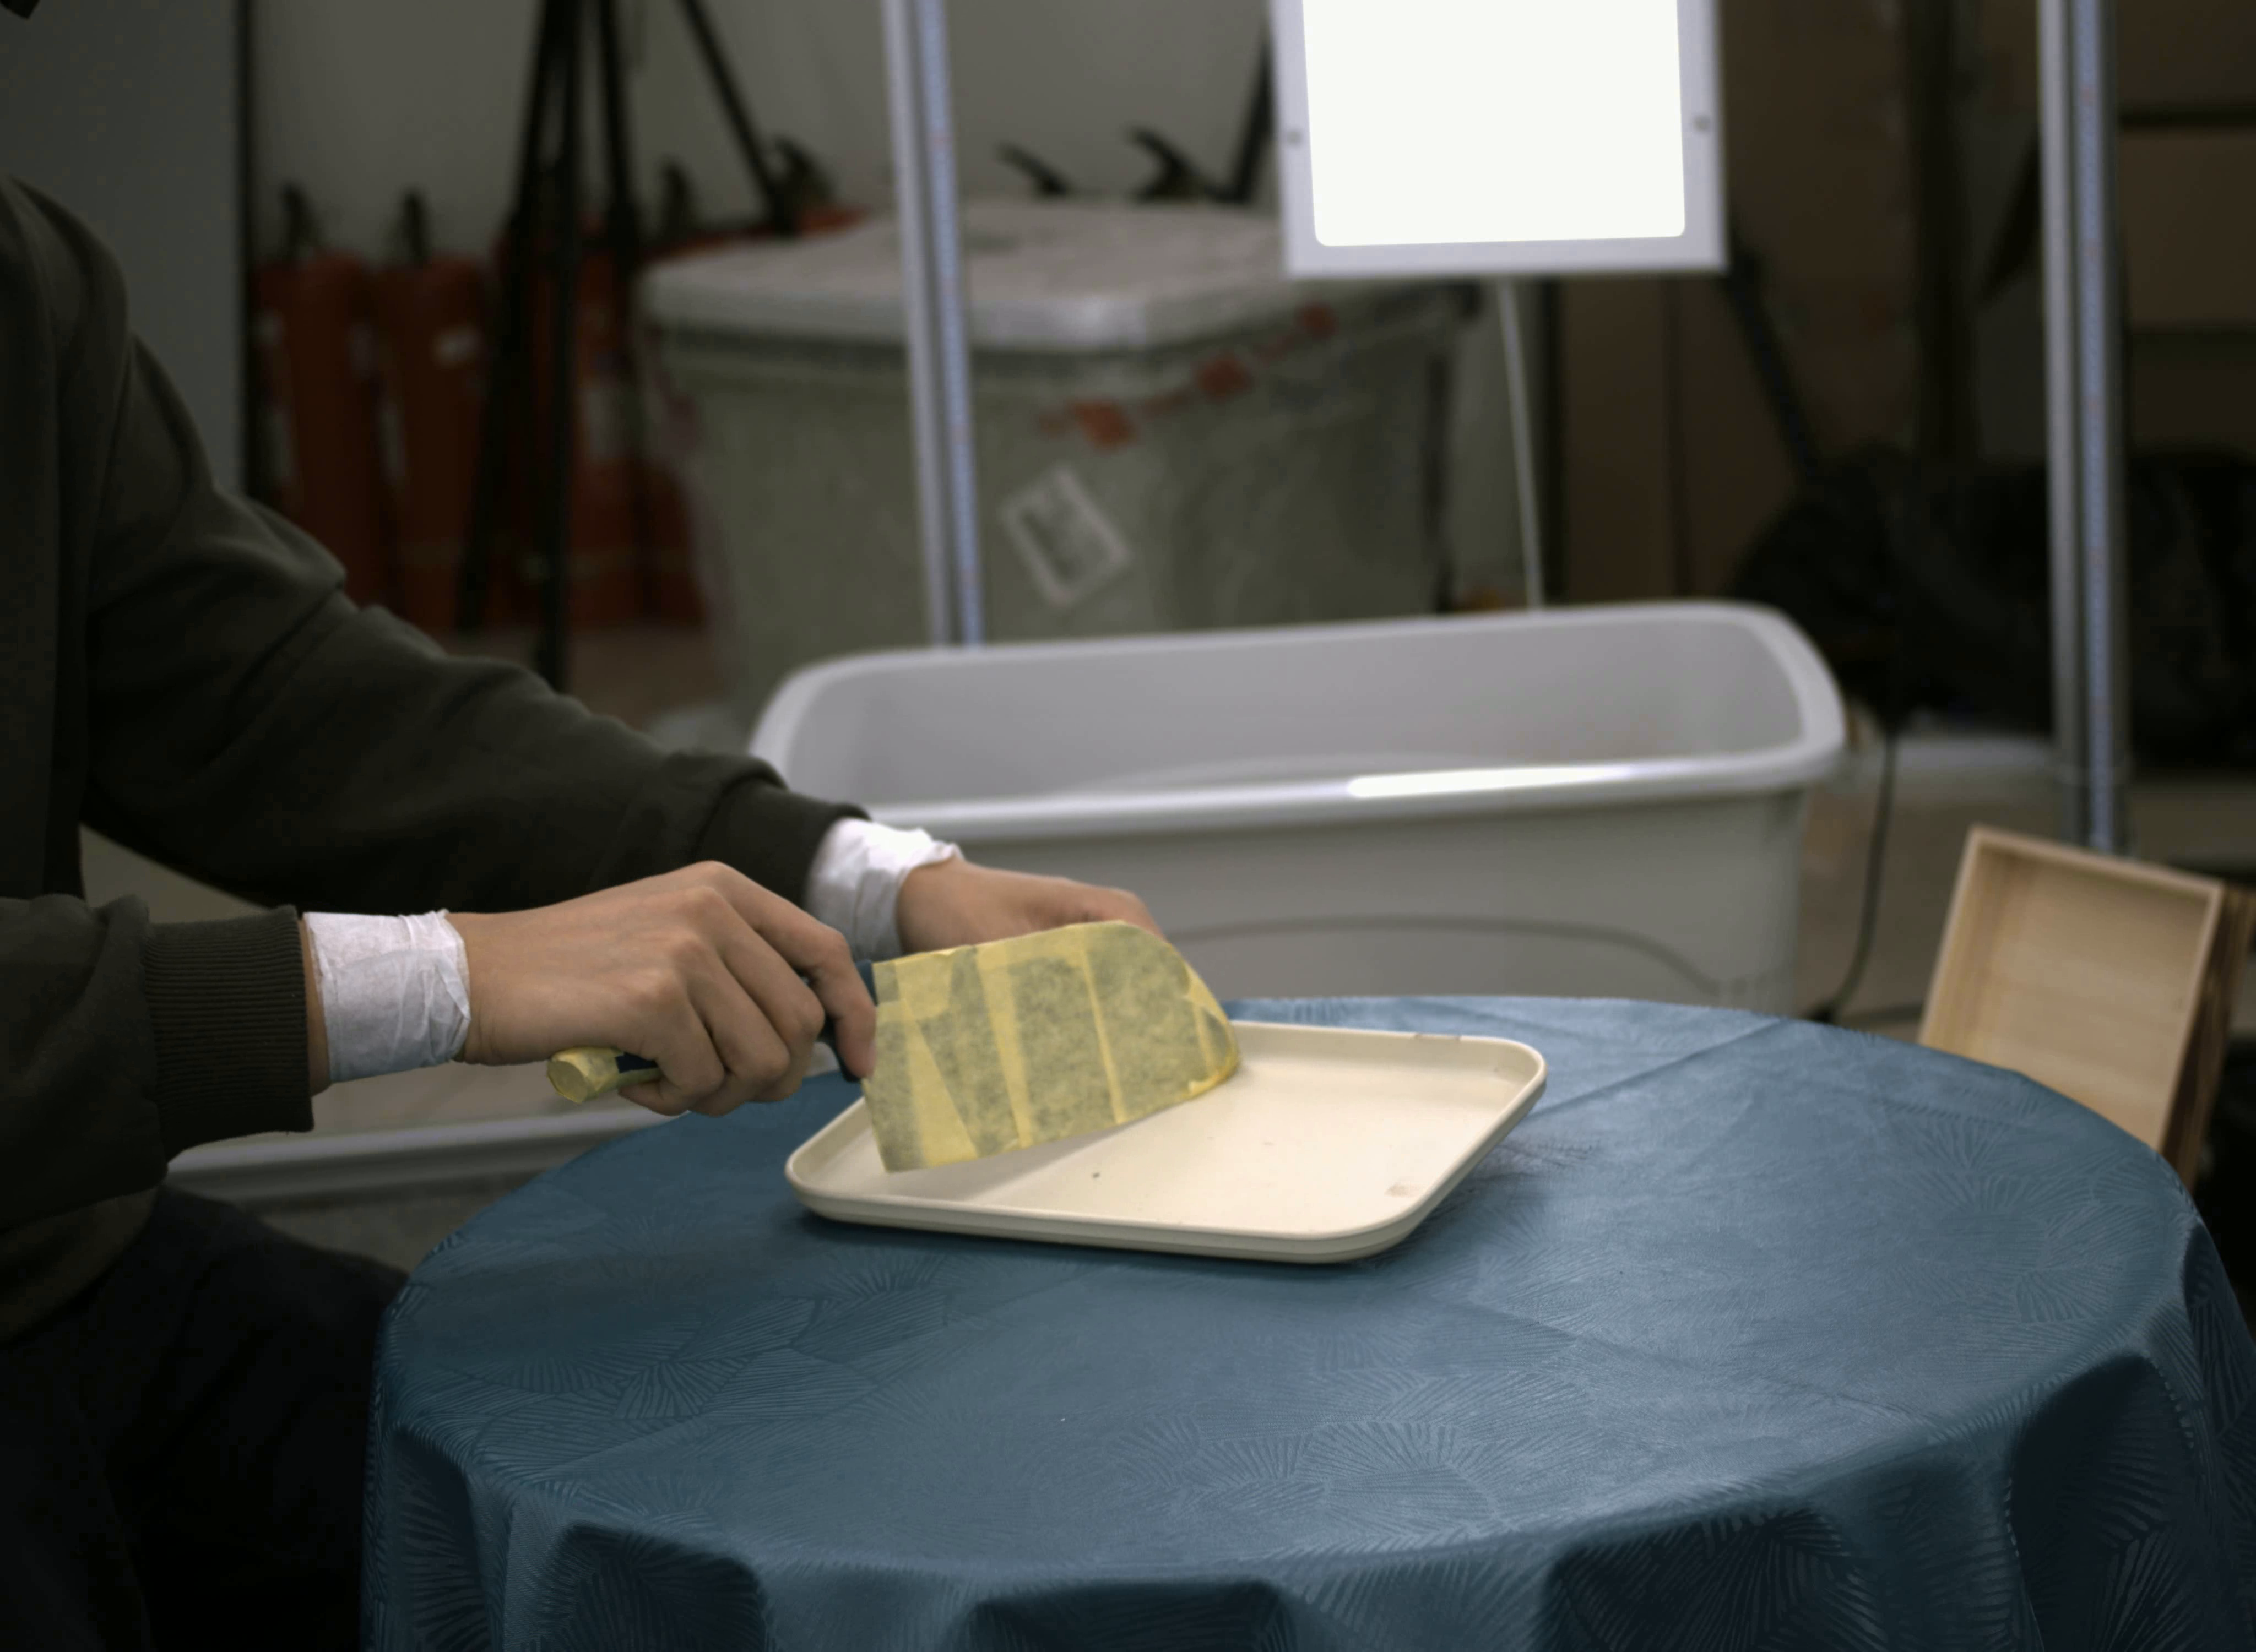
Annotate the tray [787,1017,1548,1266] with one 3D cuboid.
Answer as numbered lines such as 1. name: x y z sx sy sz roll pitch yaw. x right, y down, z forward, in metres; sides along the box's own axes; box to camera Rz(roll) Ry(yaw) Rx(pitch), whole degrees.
1. tray: 0.015 0.107 1.909 0.244 0.017 0.167 3 23 29

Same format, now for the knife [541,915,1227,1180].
1. knife: -0.076 0.079 1.884 0.282 0.081 0.028 -7 -8 -37
